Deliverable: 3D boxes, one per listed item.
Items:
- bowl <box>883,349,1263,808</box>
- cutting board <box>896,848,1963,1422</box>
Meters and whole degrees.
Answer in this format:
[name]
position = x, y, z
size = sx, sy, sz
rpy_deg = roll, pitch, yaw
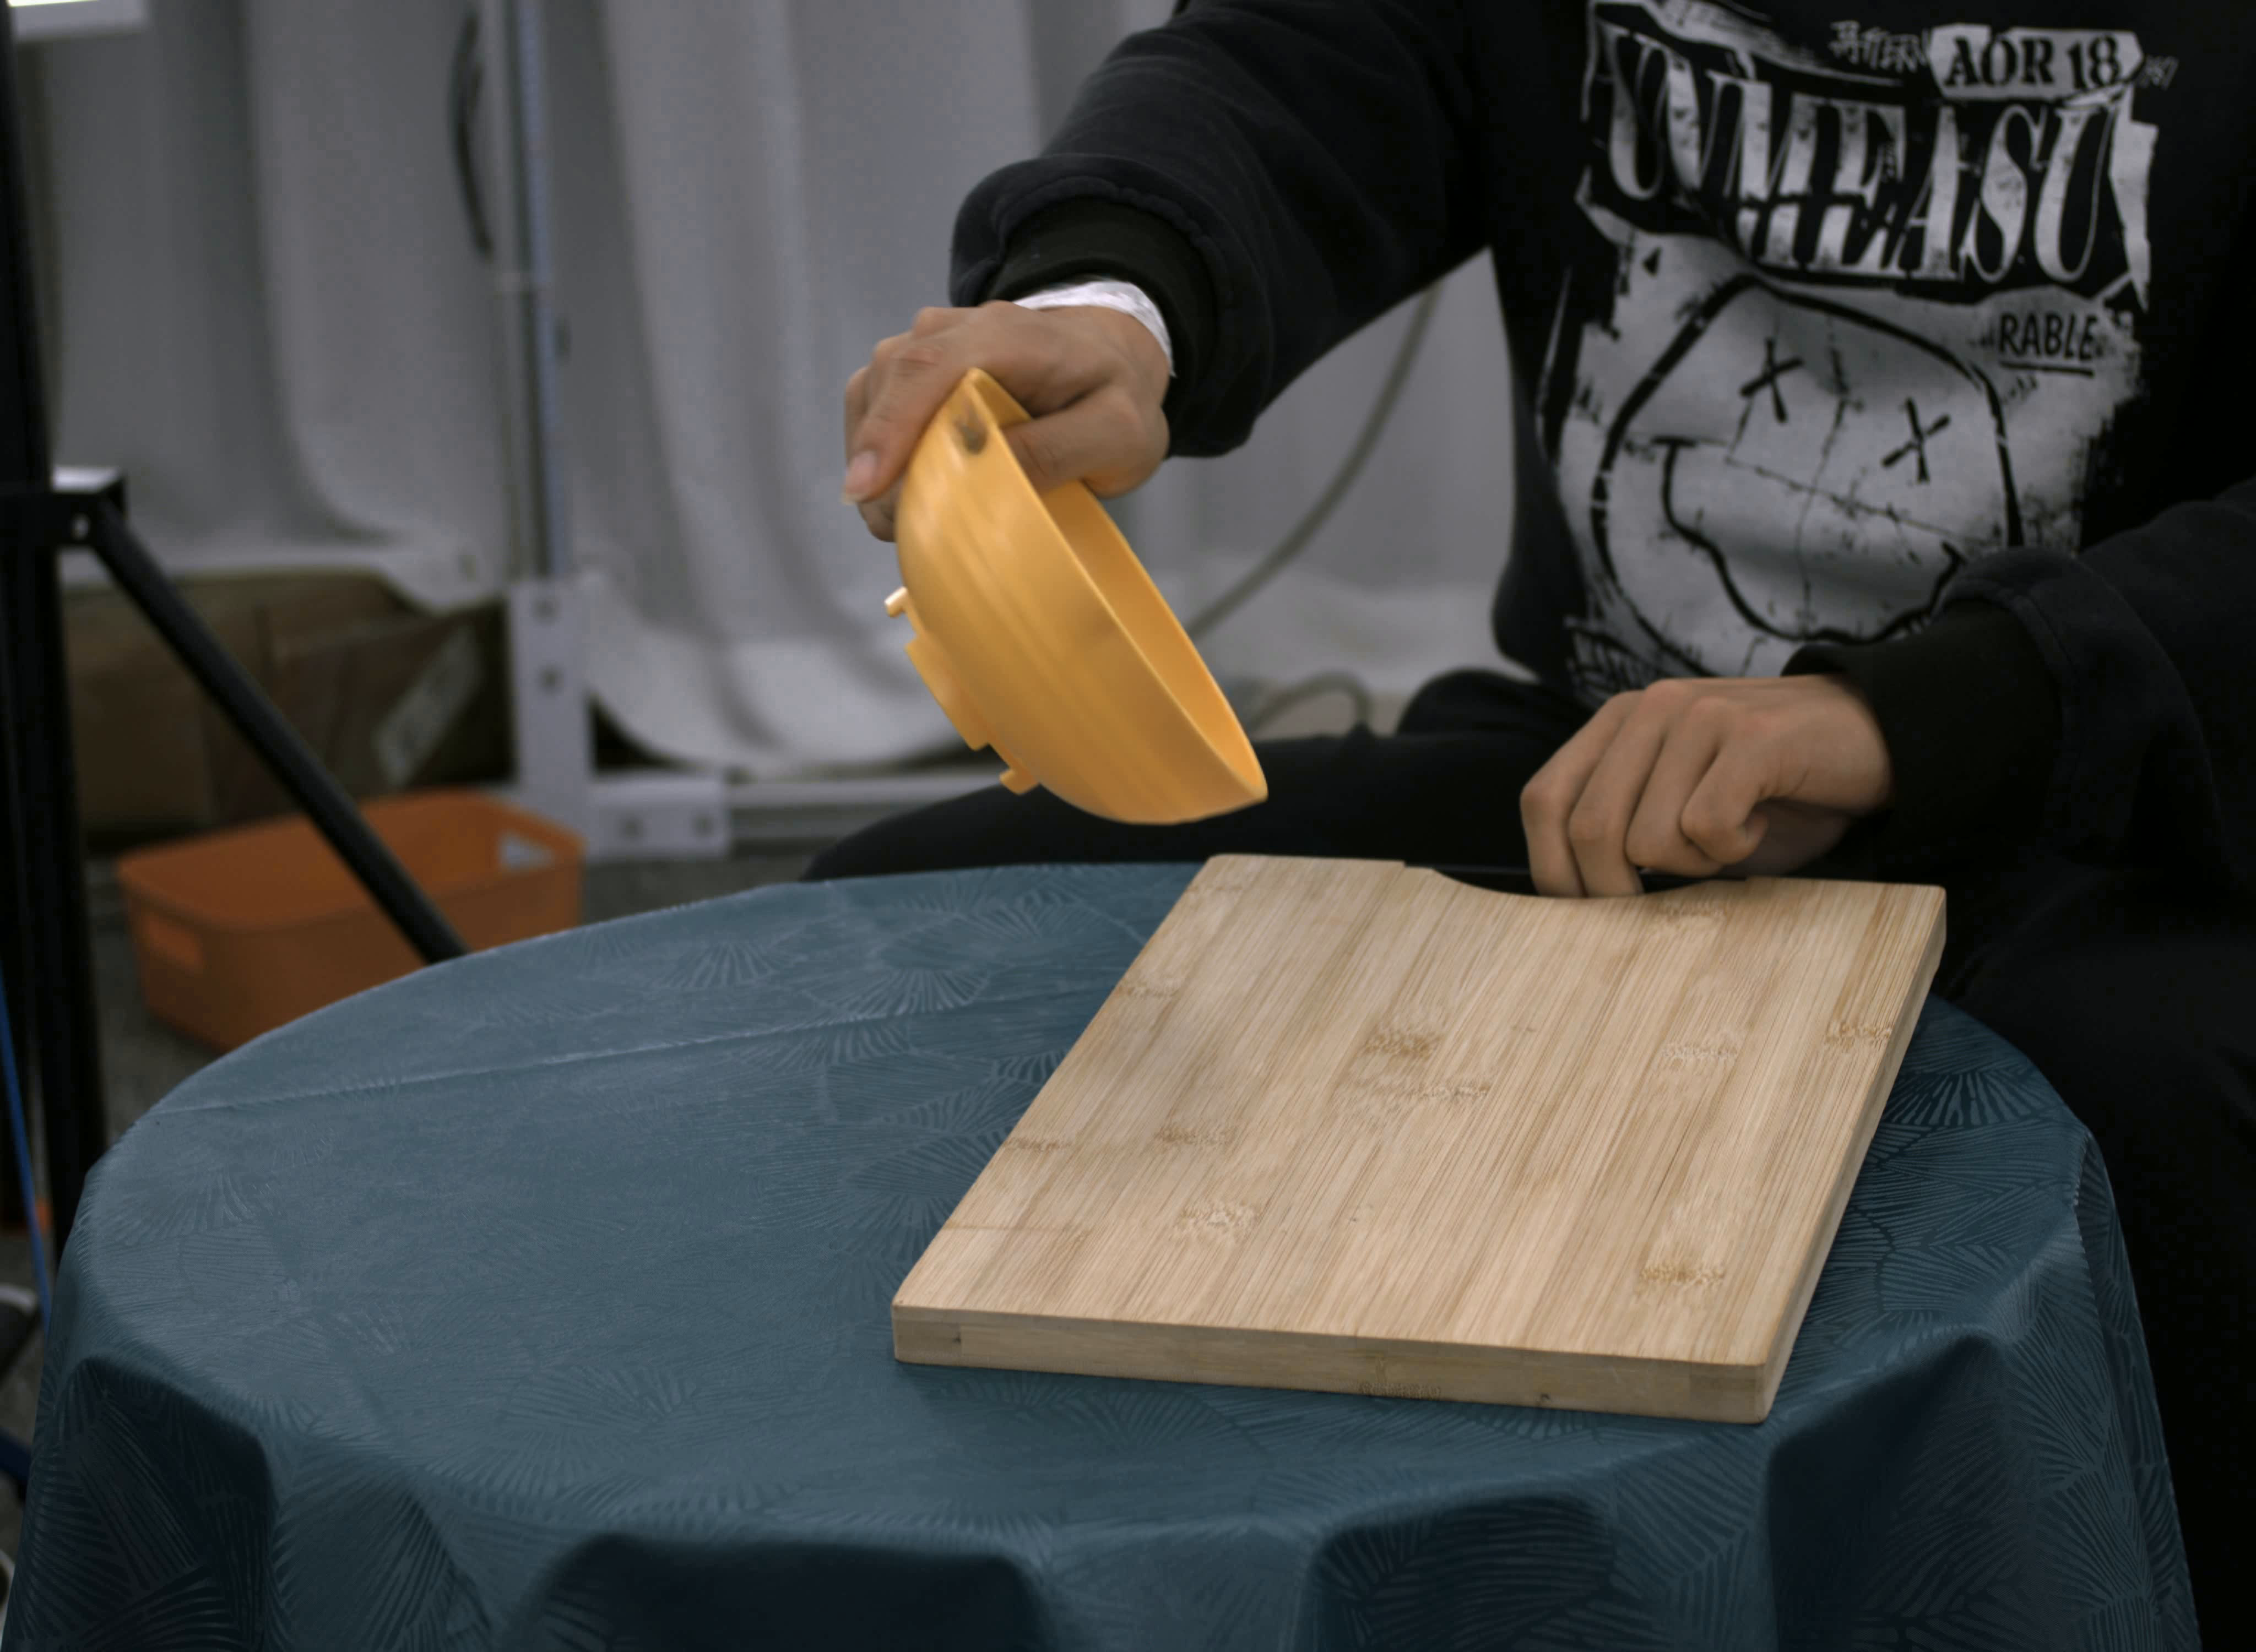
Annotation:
[bowl]
position = -0.026, -0.057, 1.483
size = 0.060, 0.144, 0.146
rpy_deg = -35, 13, 8
[cutting board]
position = 0.099, 0.081, 1.551
size = 0.253, 0.023, 0.346
rpy_deg = 2, 21, 16
